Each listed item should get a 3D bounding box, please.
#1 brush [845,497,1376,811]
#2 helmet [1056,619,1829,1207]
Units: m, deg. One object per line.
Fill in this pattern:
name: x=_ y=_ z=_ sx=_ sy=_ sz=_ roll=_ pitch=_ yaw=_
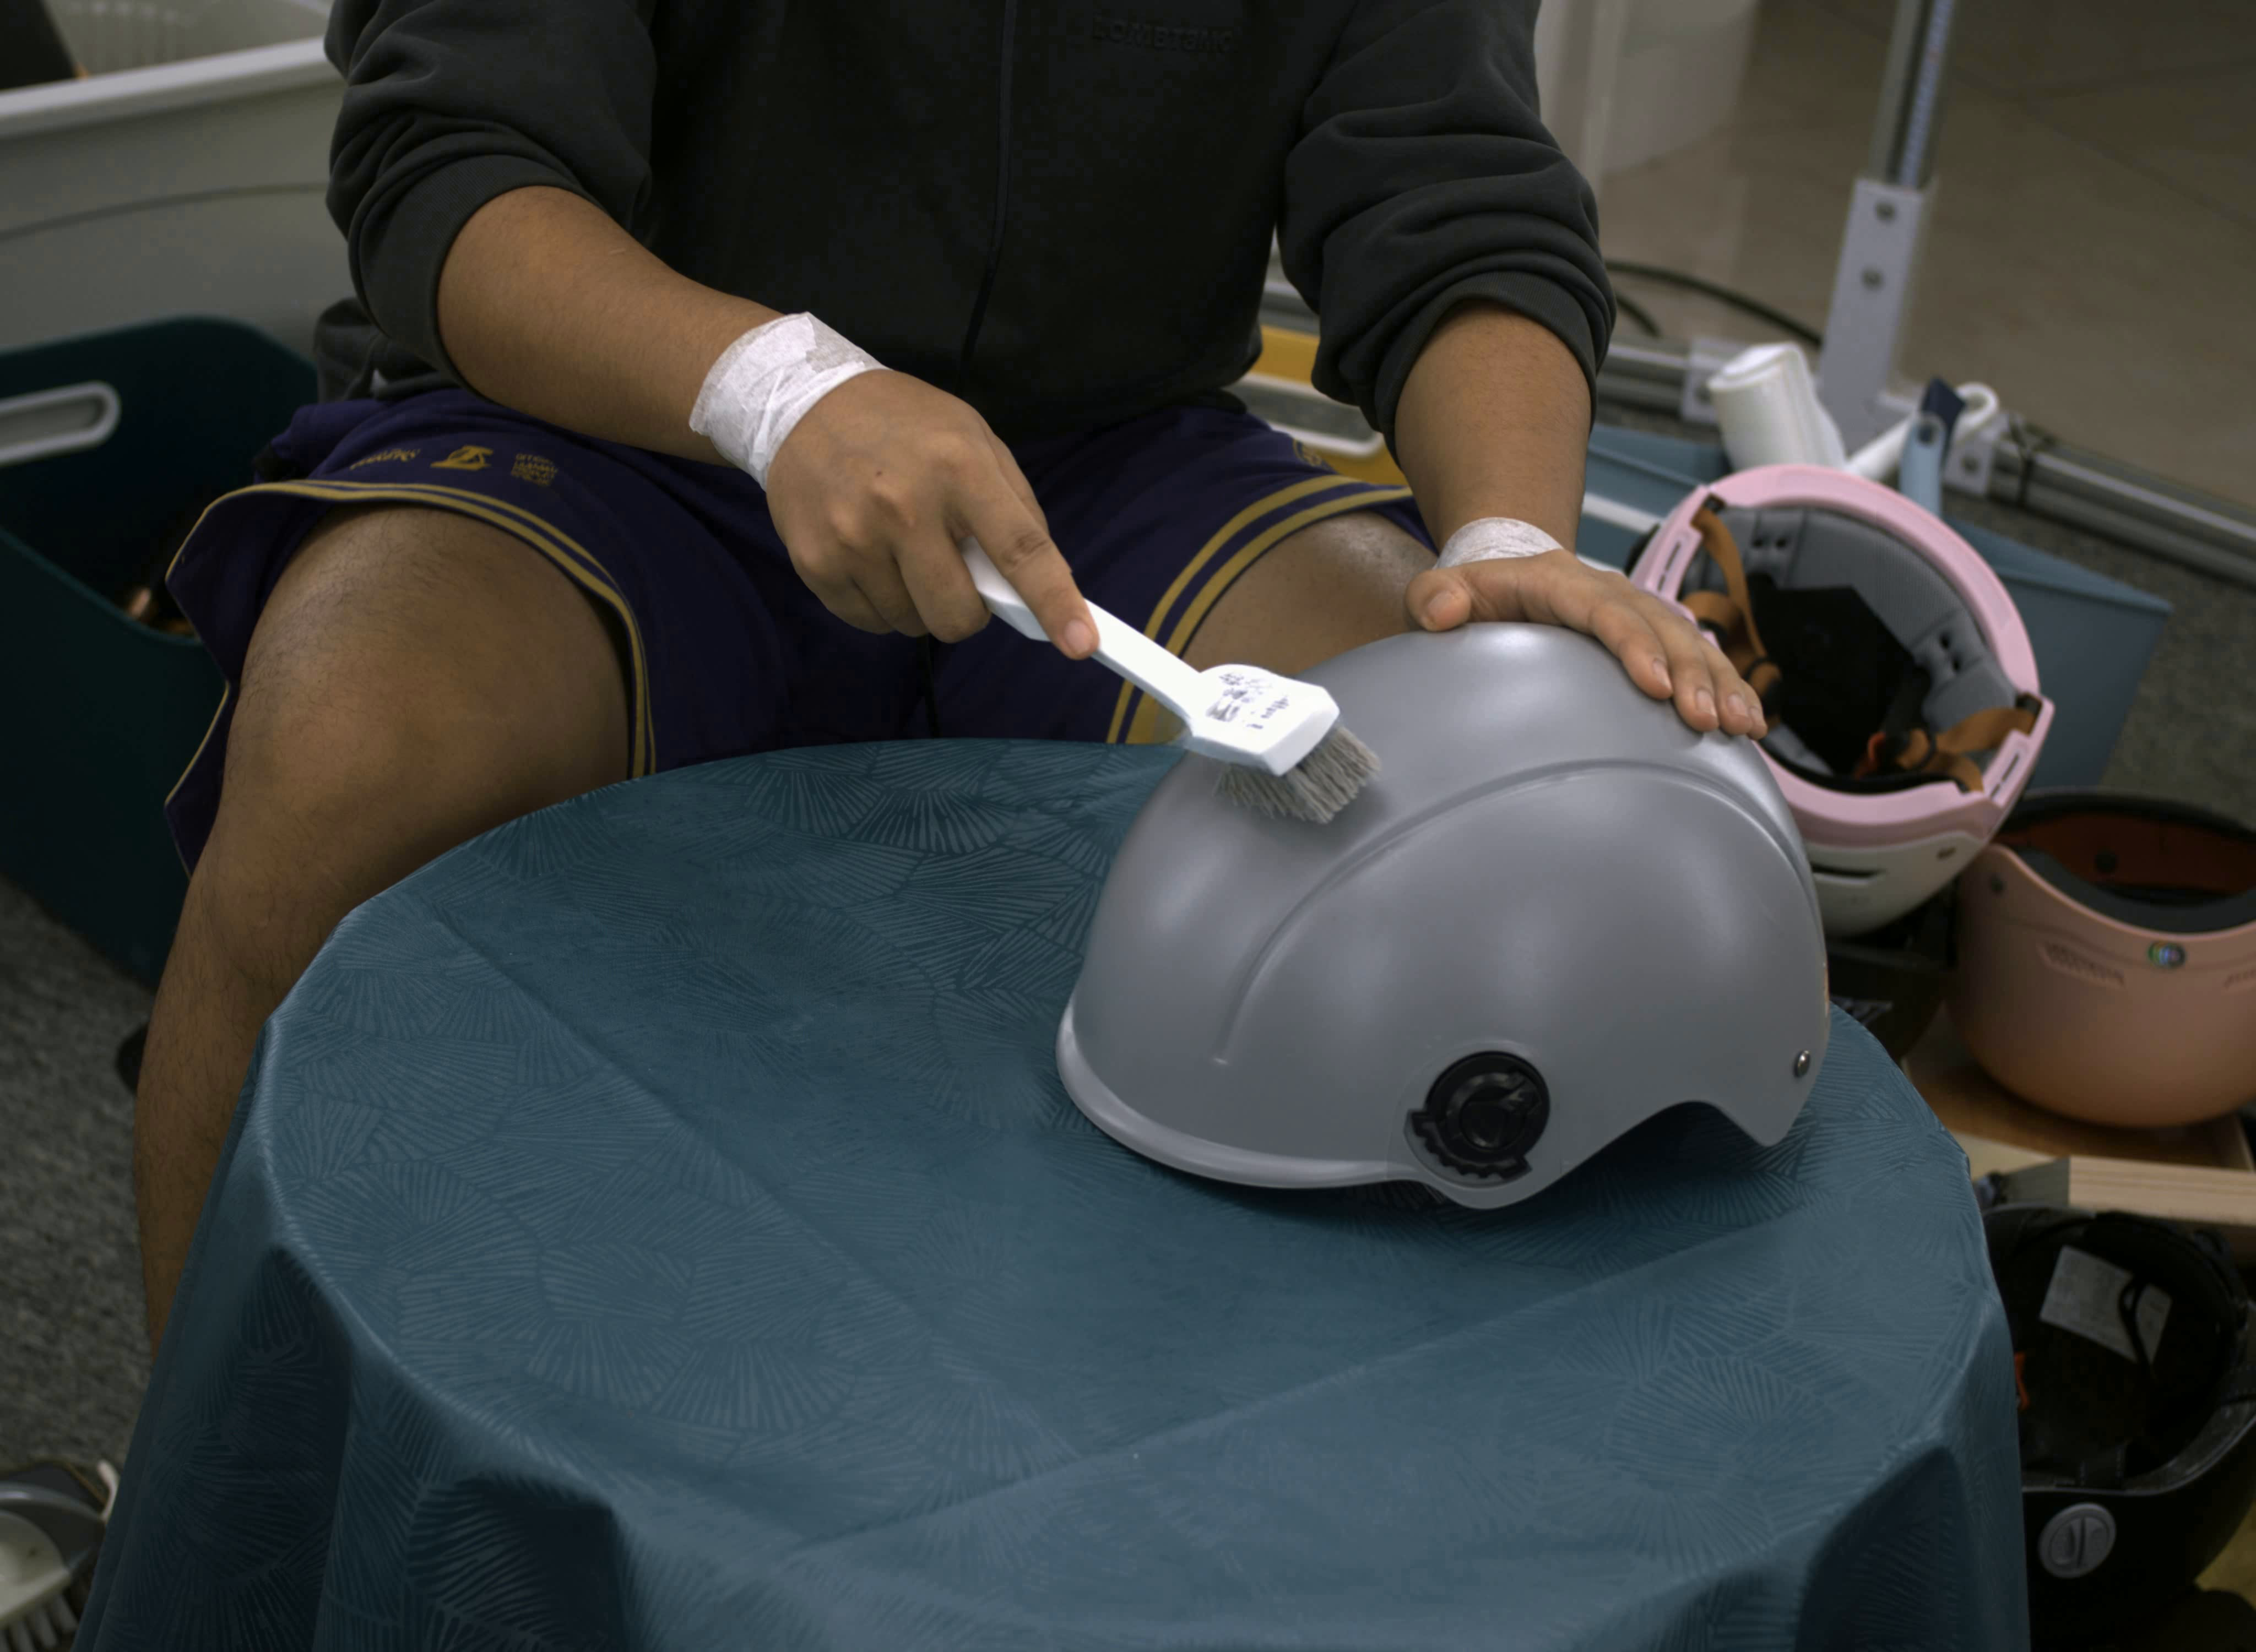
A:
brush: x=-0.009 y=-0.060 z=1.840 sx=0.245 sy=0.050 sz=0.034 roll=26 pitch=66 yaw=42
helmet: x=0.114 y=0.016 z=1.863 sx=0.274 sy=0.168 sz=0.234 roll=-6 pitch=27 yaw=-20
